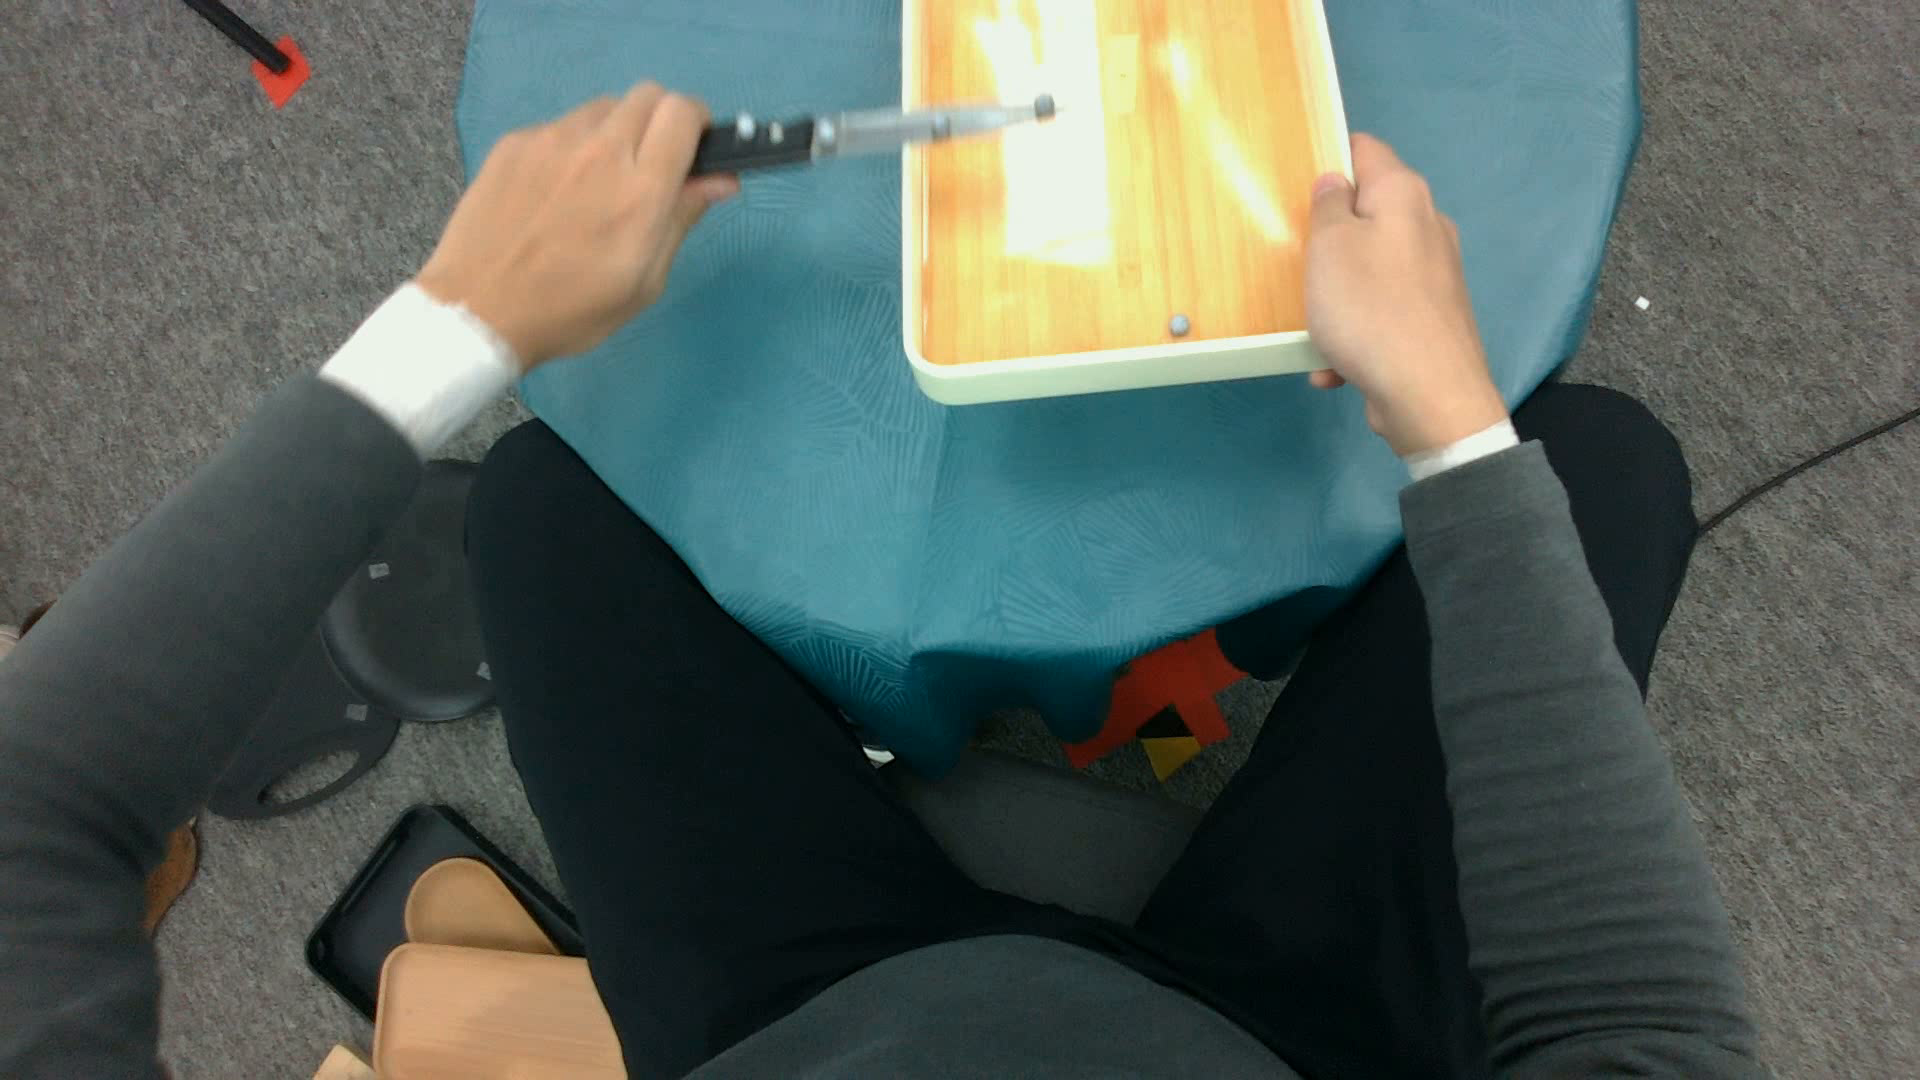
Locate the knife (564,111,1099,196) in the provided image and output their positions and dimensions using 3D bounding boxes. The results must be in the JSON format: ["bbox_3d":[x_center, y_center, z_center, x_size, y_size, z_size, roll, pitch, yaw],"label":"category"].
[{"bbox_3d":[-0.059,-0.166,0.588,0.238,0.016,0.024,-3,60,11],"label":"knife"}]

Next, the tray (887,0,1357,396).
[{"bbox_3d":[0.063,-0.203,0.630,0.191,0.027,0.301,-5,61,7],"label":"tray"}]
